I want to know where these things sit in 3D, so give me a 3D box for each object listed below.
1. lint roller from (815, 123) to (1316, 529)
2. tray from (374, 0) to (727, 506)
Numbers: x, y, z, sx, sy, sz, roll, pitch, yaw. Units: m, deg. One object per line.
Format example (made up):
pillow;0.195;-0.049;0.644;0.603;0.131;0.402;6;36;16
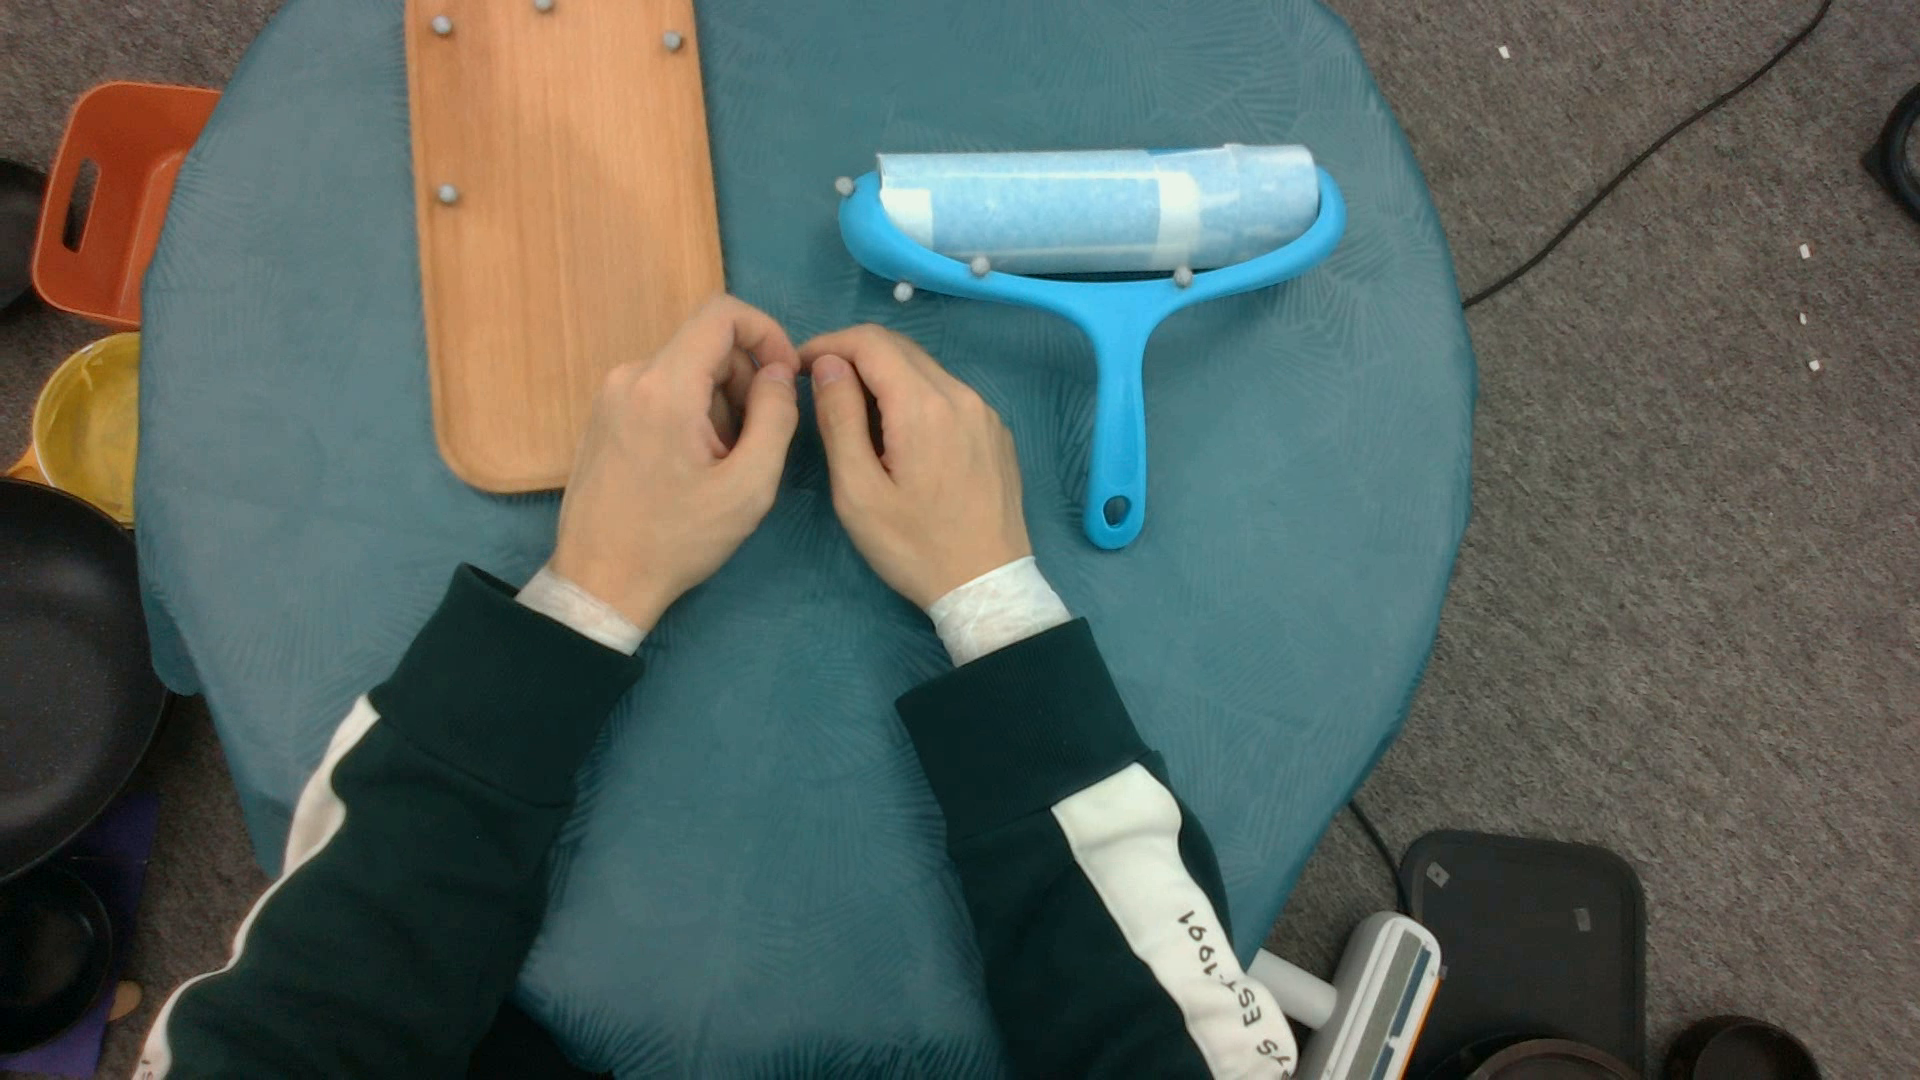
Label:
lint roller;0.058;-0.099;0.614;0.229;0.068;0.180;-7;79;-10
tray;-0.182;-0.141;0.613;0.130;0.023;0.251;-9;81;-6
